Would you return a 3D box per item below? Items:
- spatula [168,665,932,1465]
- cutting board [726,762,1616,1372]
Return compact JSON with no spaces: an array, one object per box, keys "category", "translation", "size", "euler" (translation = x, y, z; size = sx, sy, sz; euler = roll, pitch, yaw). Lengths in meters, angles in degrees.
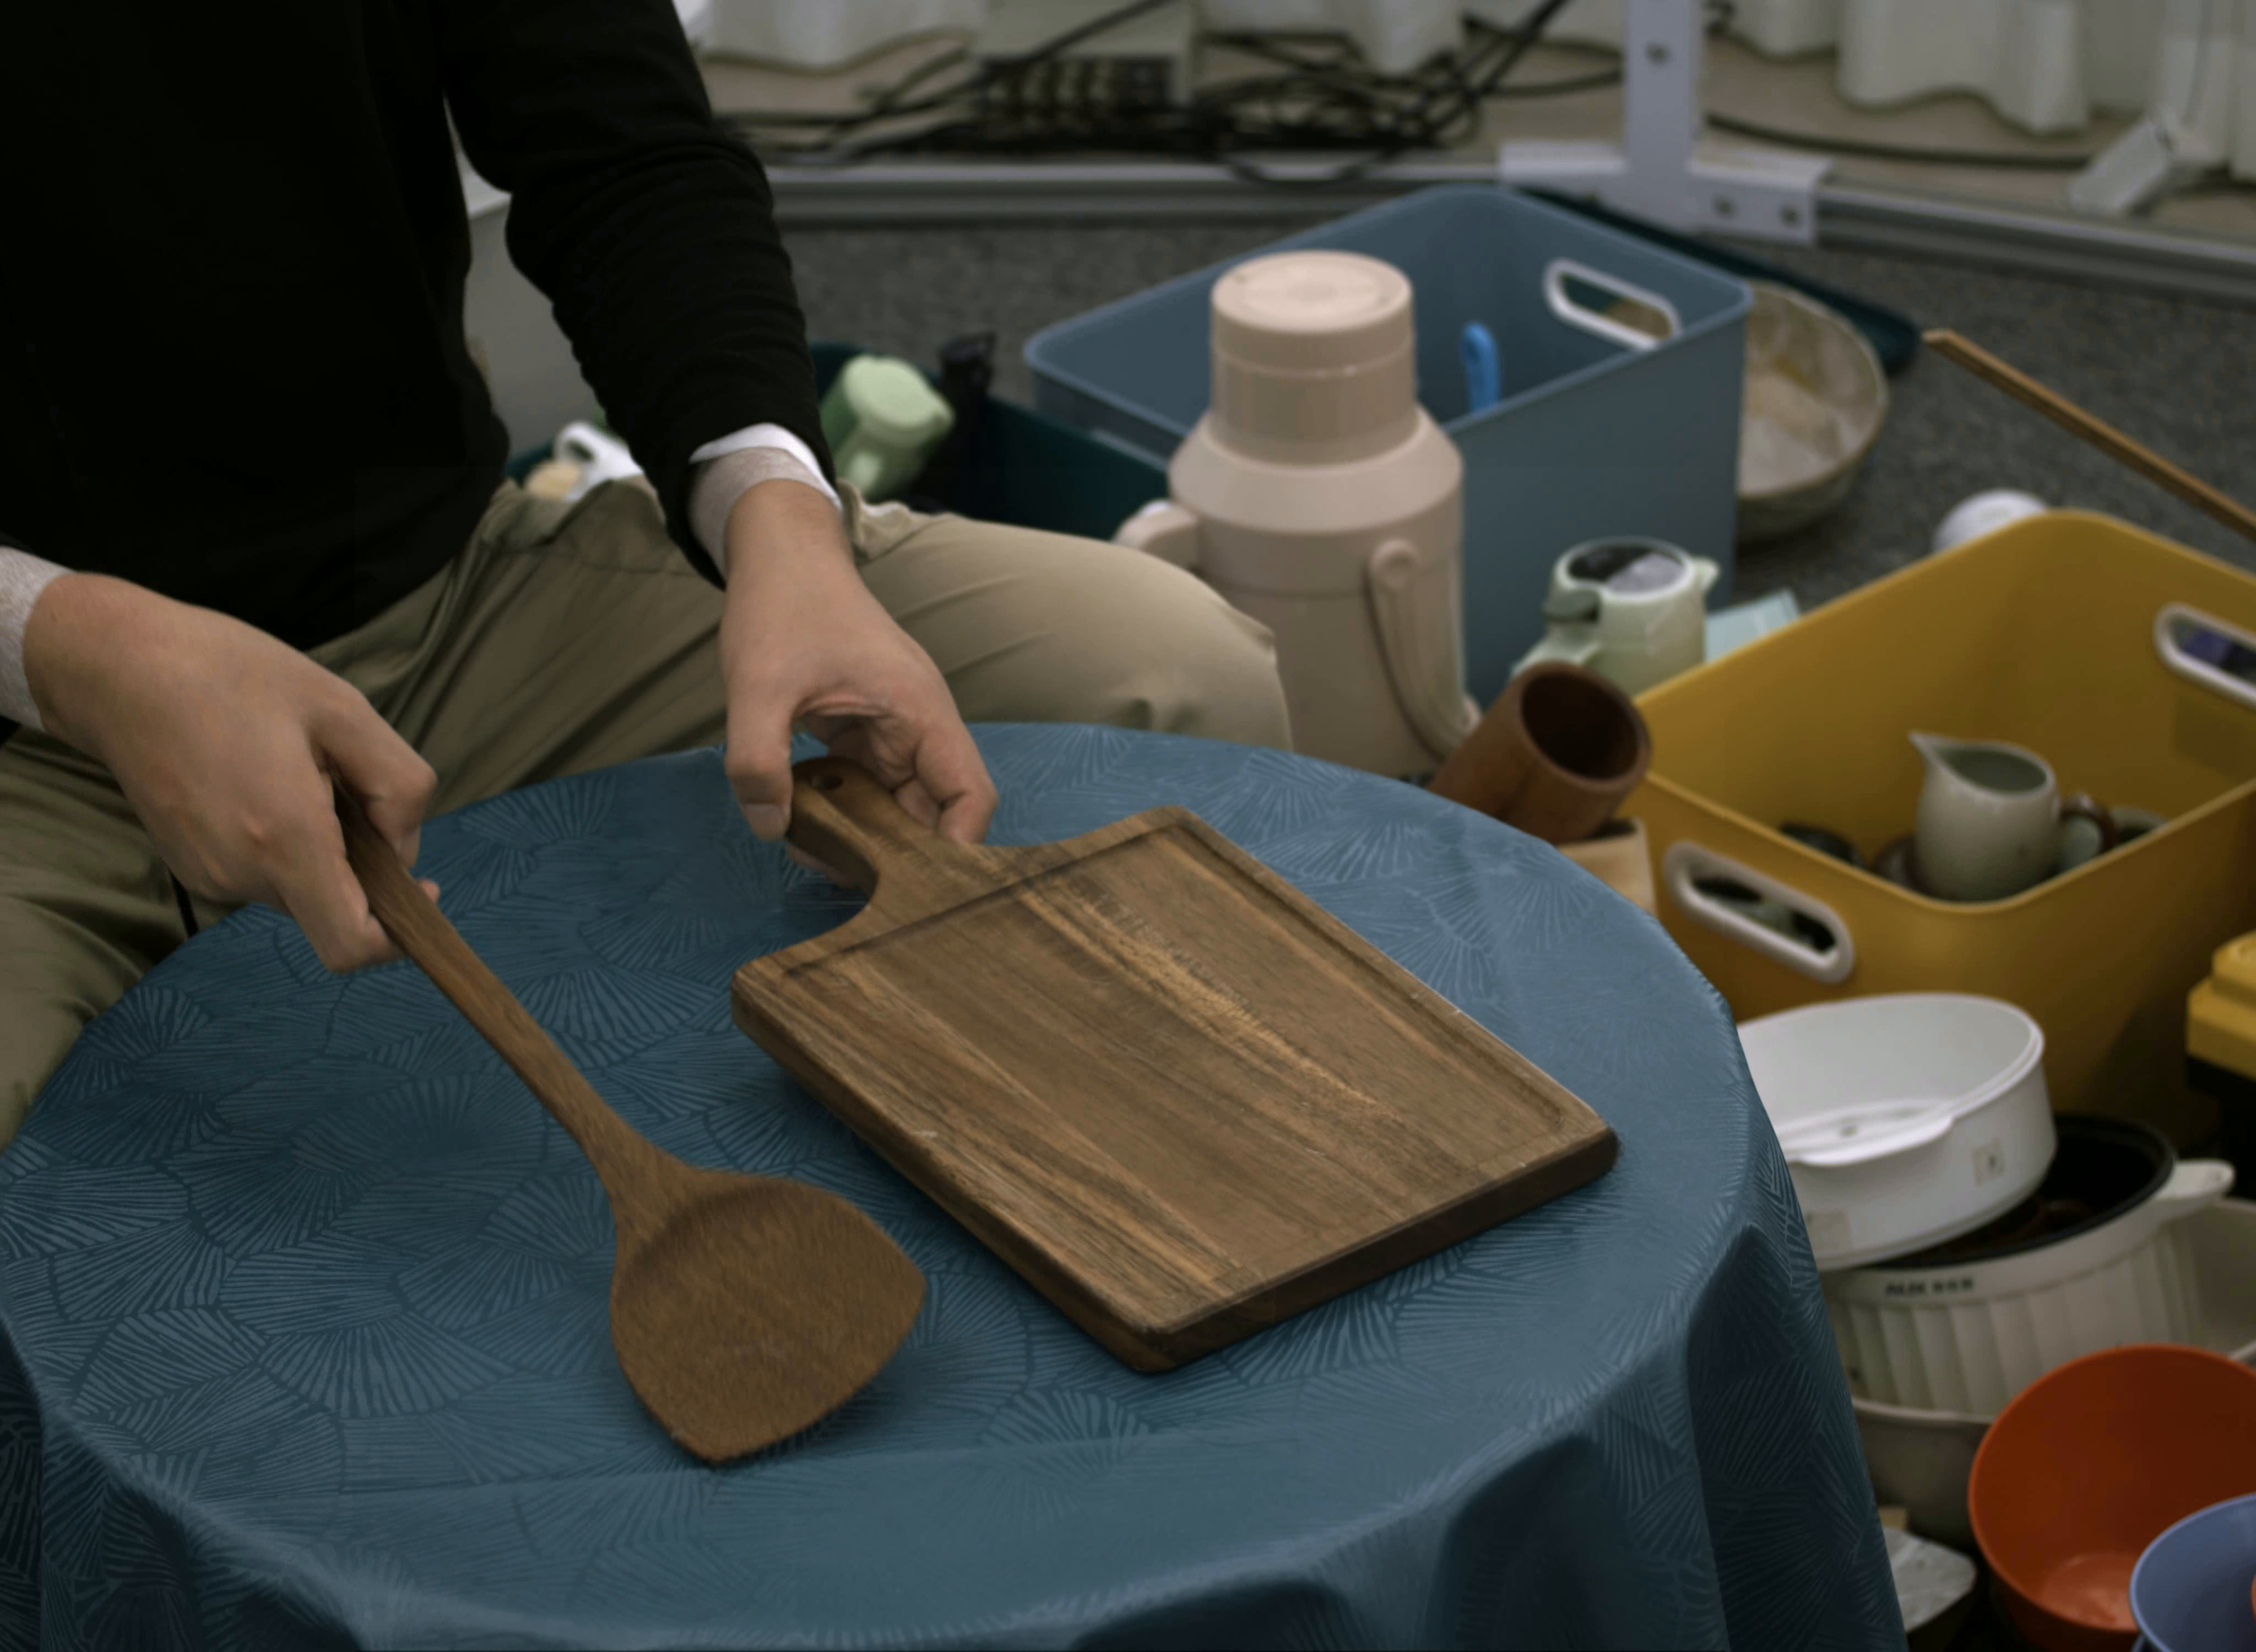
[{"category":"spatula","translation":[-0.206,0.065,1.833],"size":[0.097,0.015,0.388],"euler":[-34,58,-19]},{"category":"cutting board","translation":[-0.017,0.061,1.924],"size":[0.203,0.023,0.353],"euler":[-21,37,-31]}]
